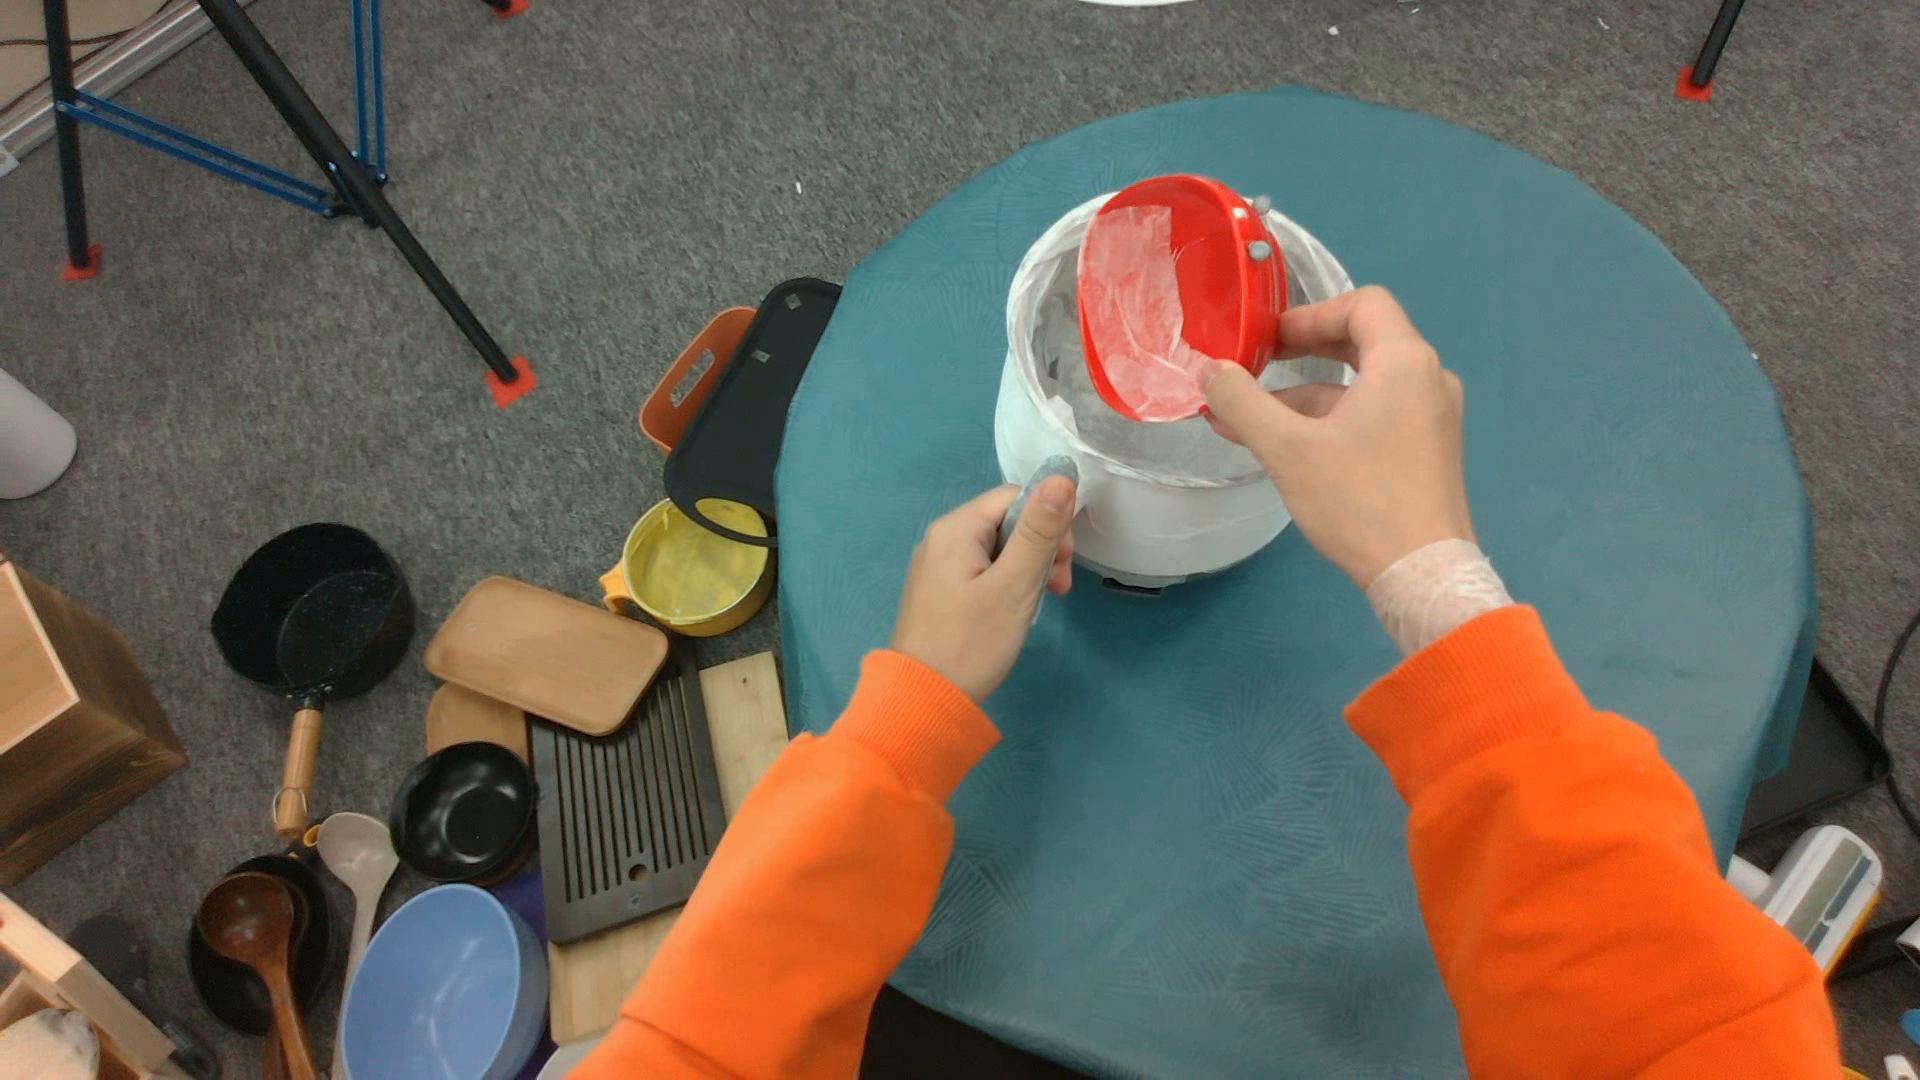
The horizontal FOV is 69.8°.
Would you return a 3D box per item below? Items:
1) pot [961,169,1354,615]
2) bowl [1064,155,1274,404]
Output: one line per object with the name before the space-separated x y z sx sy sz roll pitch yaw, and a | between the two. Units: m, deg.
pot | 0.085 -0.066 0.714 0.179 0.136 0.234 34 67 14
bowl | 0.103 -0.119 0.638 0.051 0.118 0.119 -8 55 -36
